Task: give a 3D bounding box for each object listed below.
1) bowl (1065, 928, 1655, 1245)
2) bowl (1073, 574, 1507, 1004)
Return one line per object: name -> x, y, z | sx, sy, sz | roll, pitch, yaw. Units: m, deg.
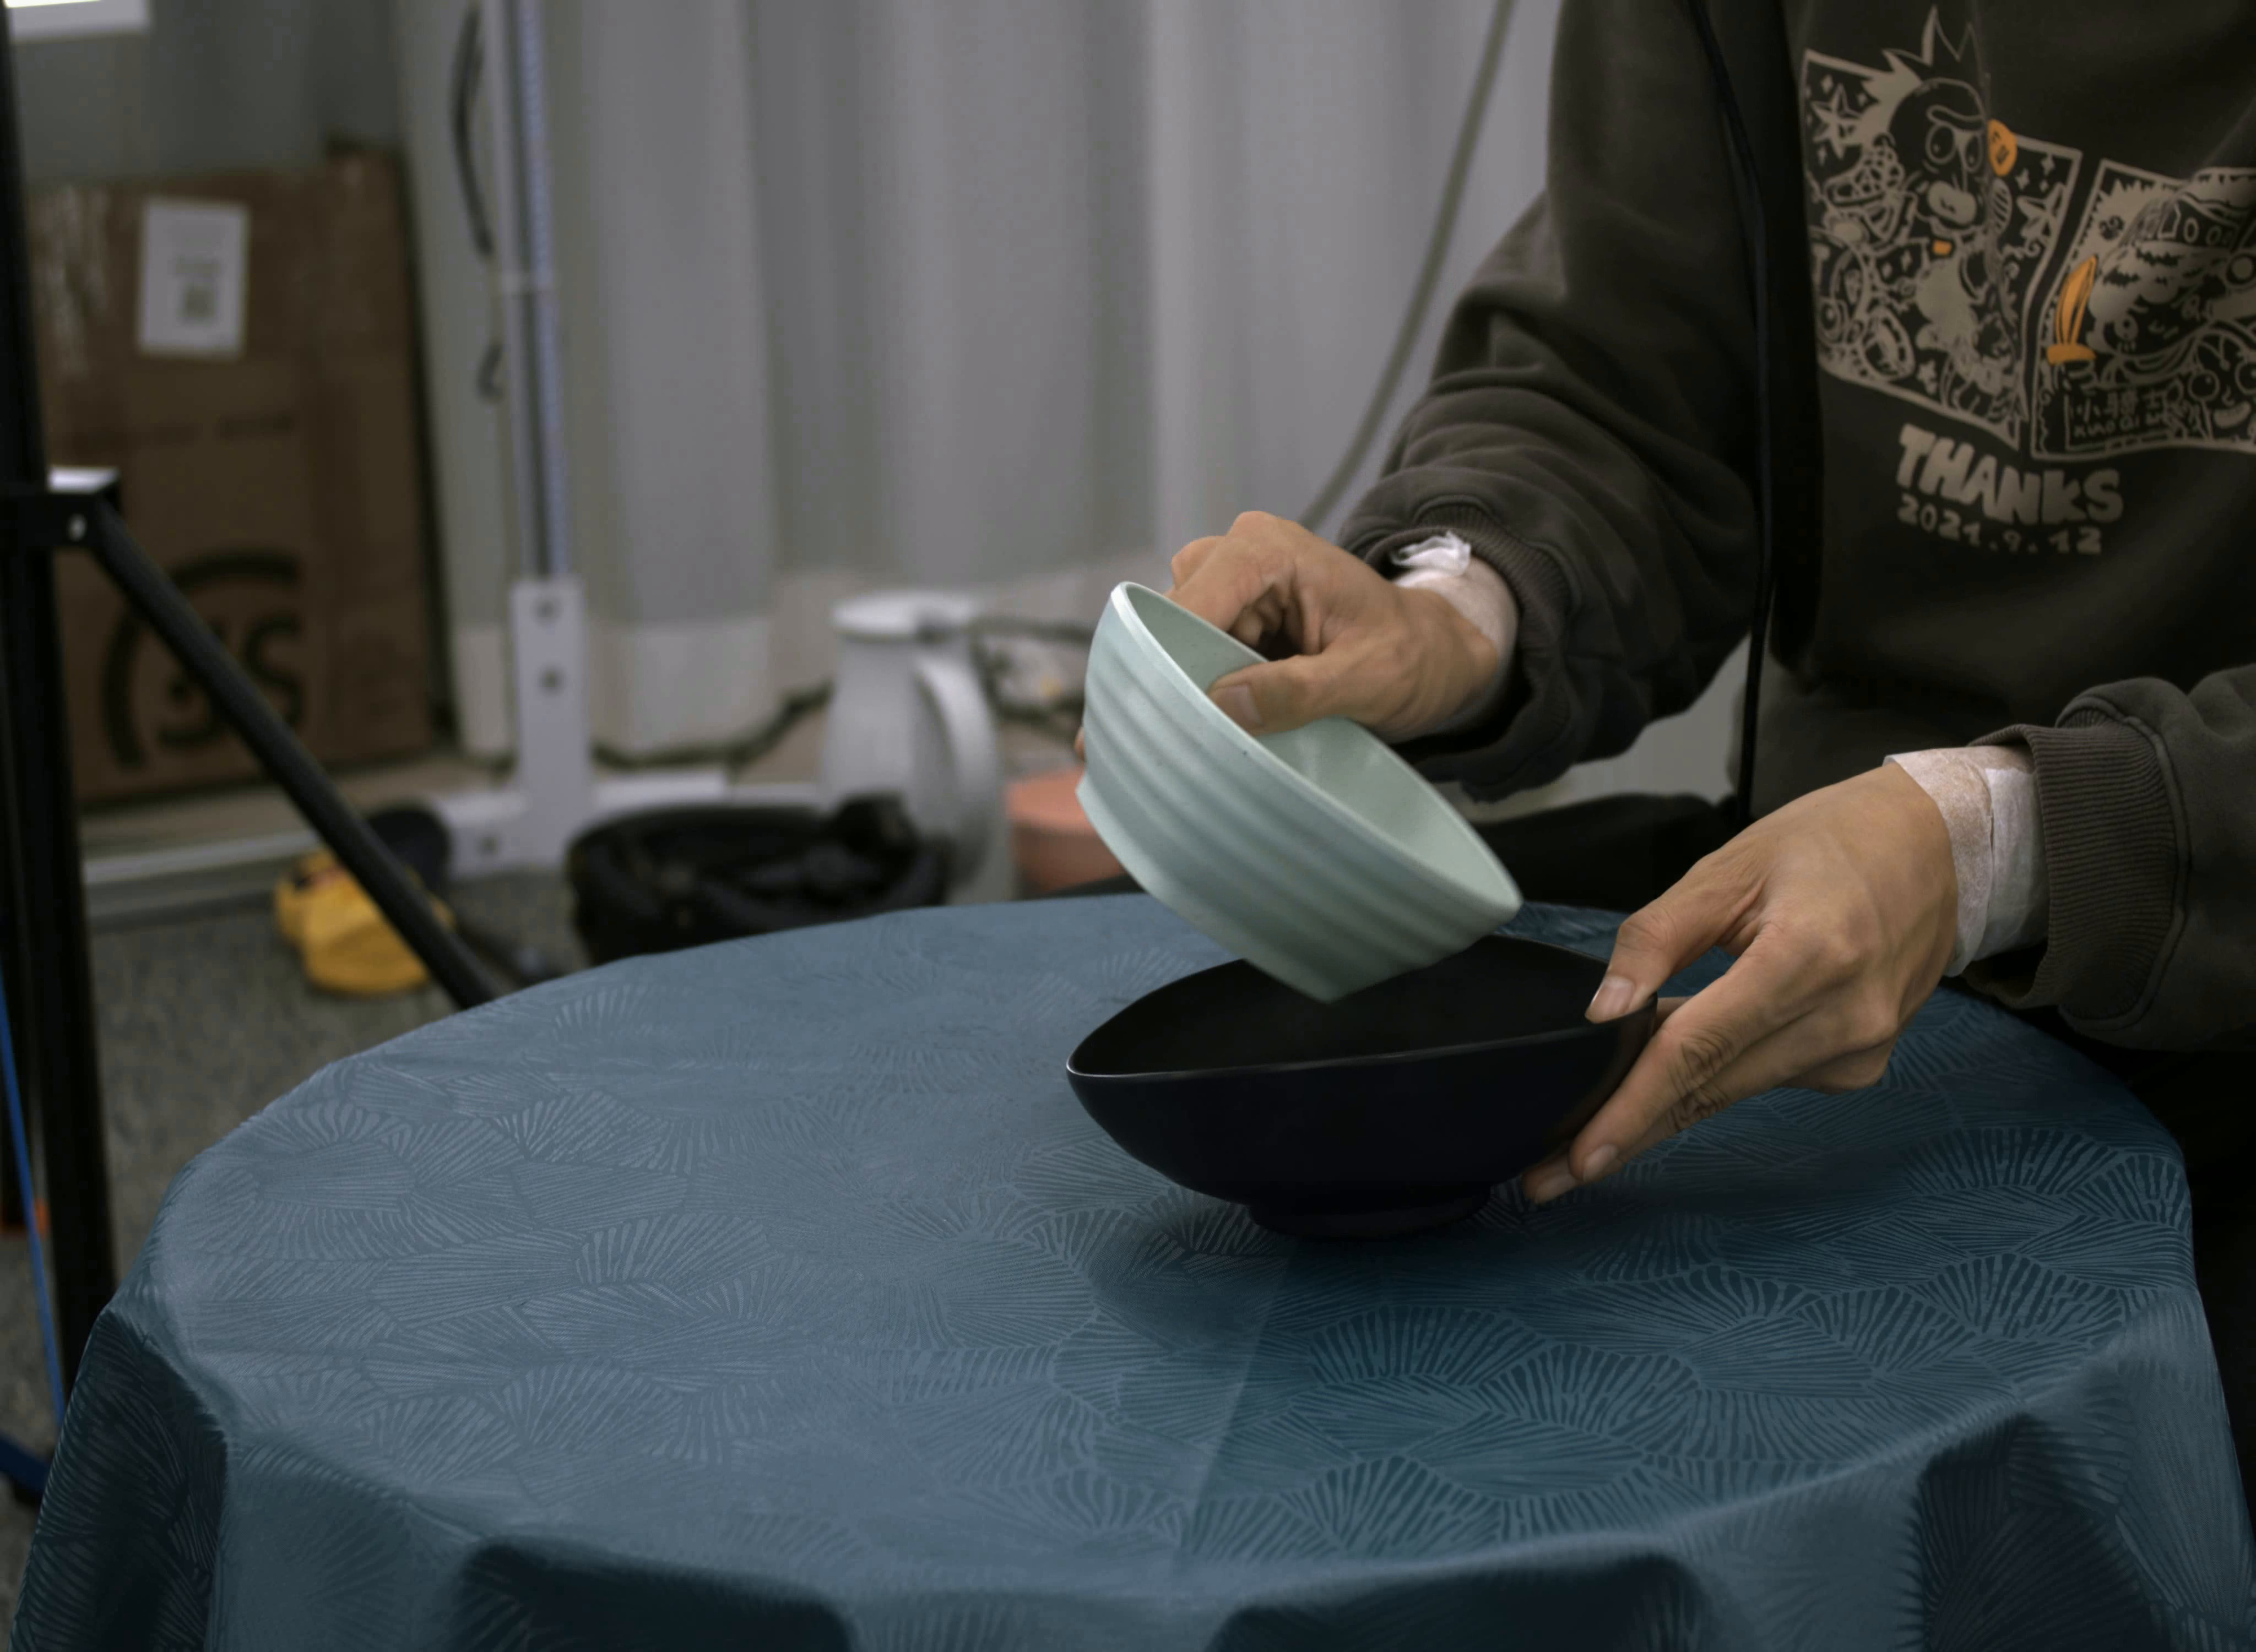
bowl -> 0.068, 0.080, 1.516 | 0.170, 0.067, 0.138 | -6, 12, 2
bowl -> 0.036, -0.002, 1.537 | 0.150, 0.059, 0.152 | 37, 14, -12
